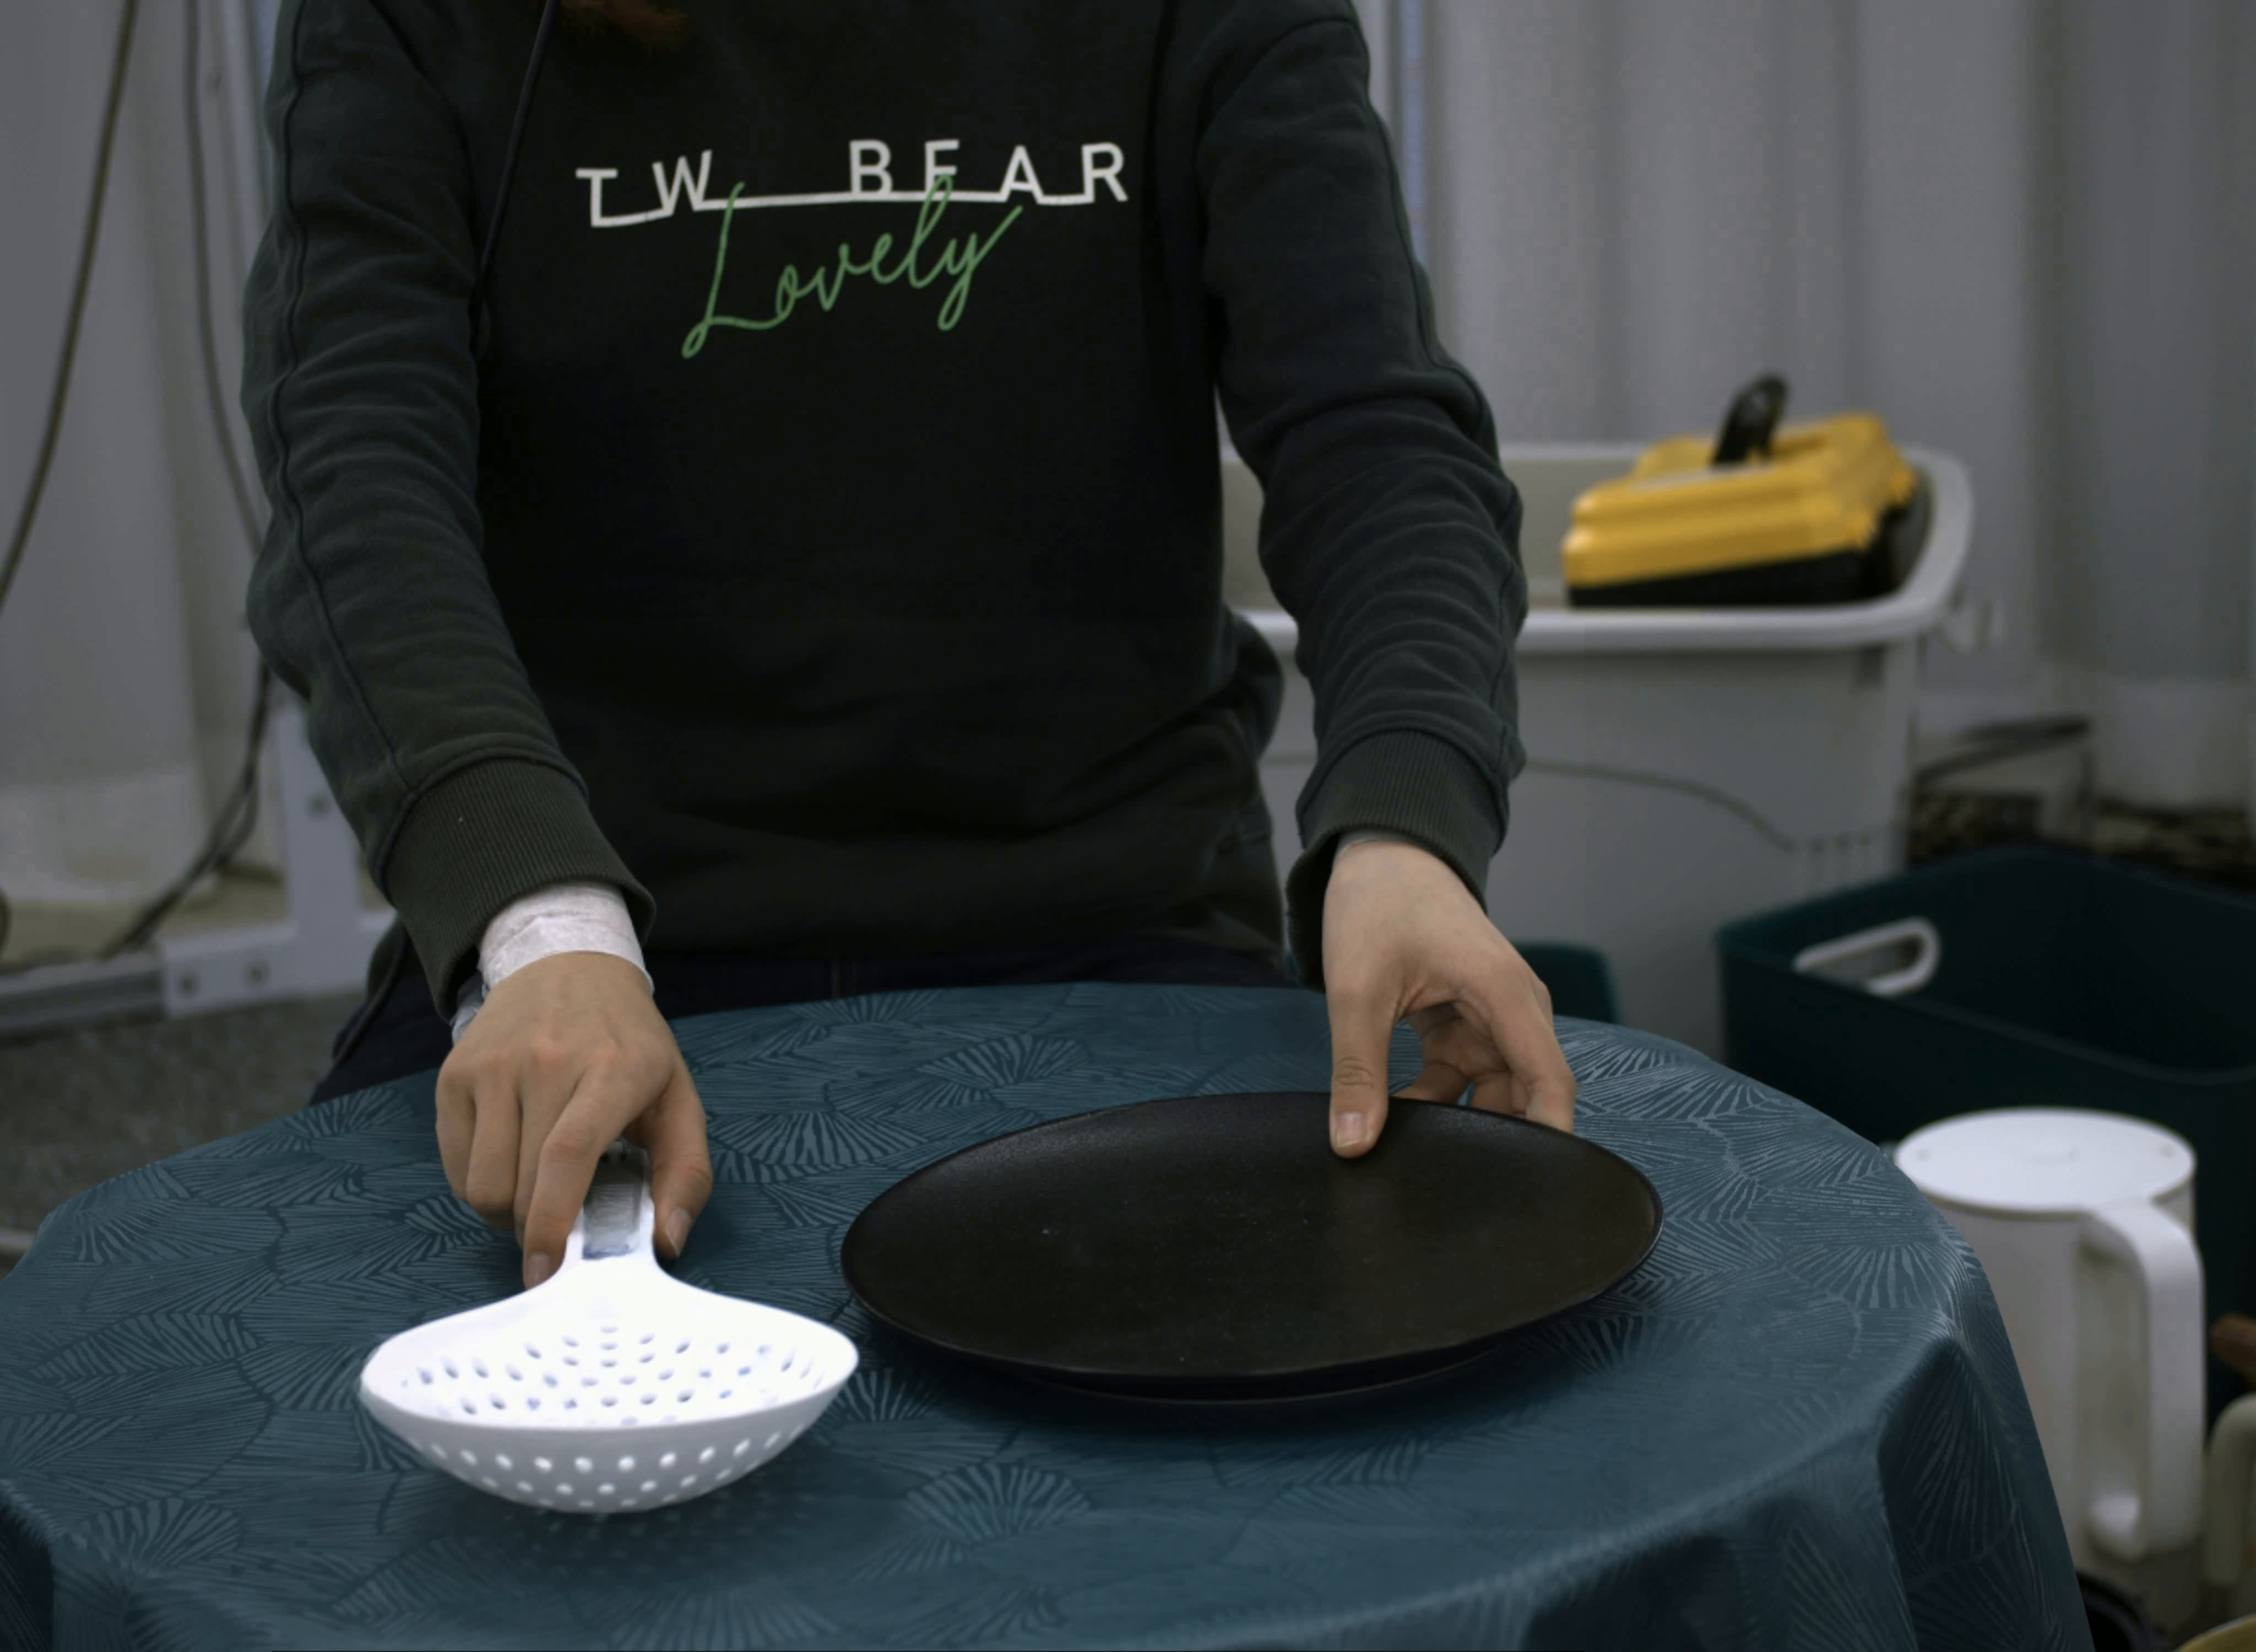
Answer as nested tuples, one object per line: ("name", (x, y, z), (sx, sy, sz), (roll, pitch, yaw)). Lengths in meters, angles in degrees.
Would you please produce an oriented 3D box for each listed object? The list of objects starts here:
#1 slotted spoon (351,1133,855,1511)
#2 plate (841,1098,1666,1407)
("slotted spoon", (-0.150, 0.134, 1.583), (0.135, 0.045, 0.352), (0, 14, -5))
("plate", (0.037, 0.127, 1.612), (0.243, 0.023, 0.246), (-3, 15, 1))
